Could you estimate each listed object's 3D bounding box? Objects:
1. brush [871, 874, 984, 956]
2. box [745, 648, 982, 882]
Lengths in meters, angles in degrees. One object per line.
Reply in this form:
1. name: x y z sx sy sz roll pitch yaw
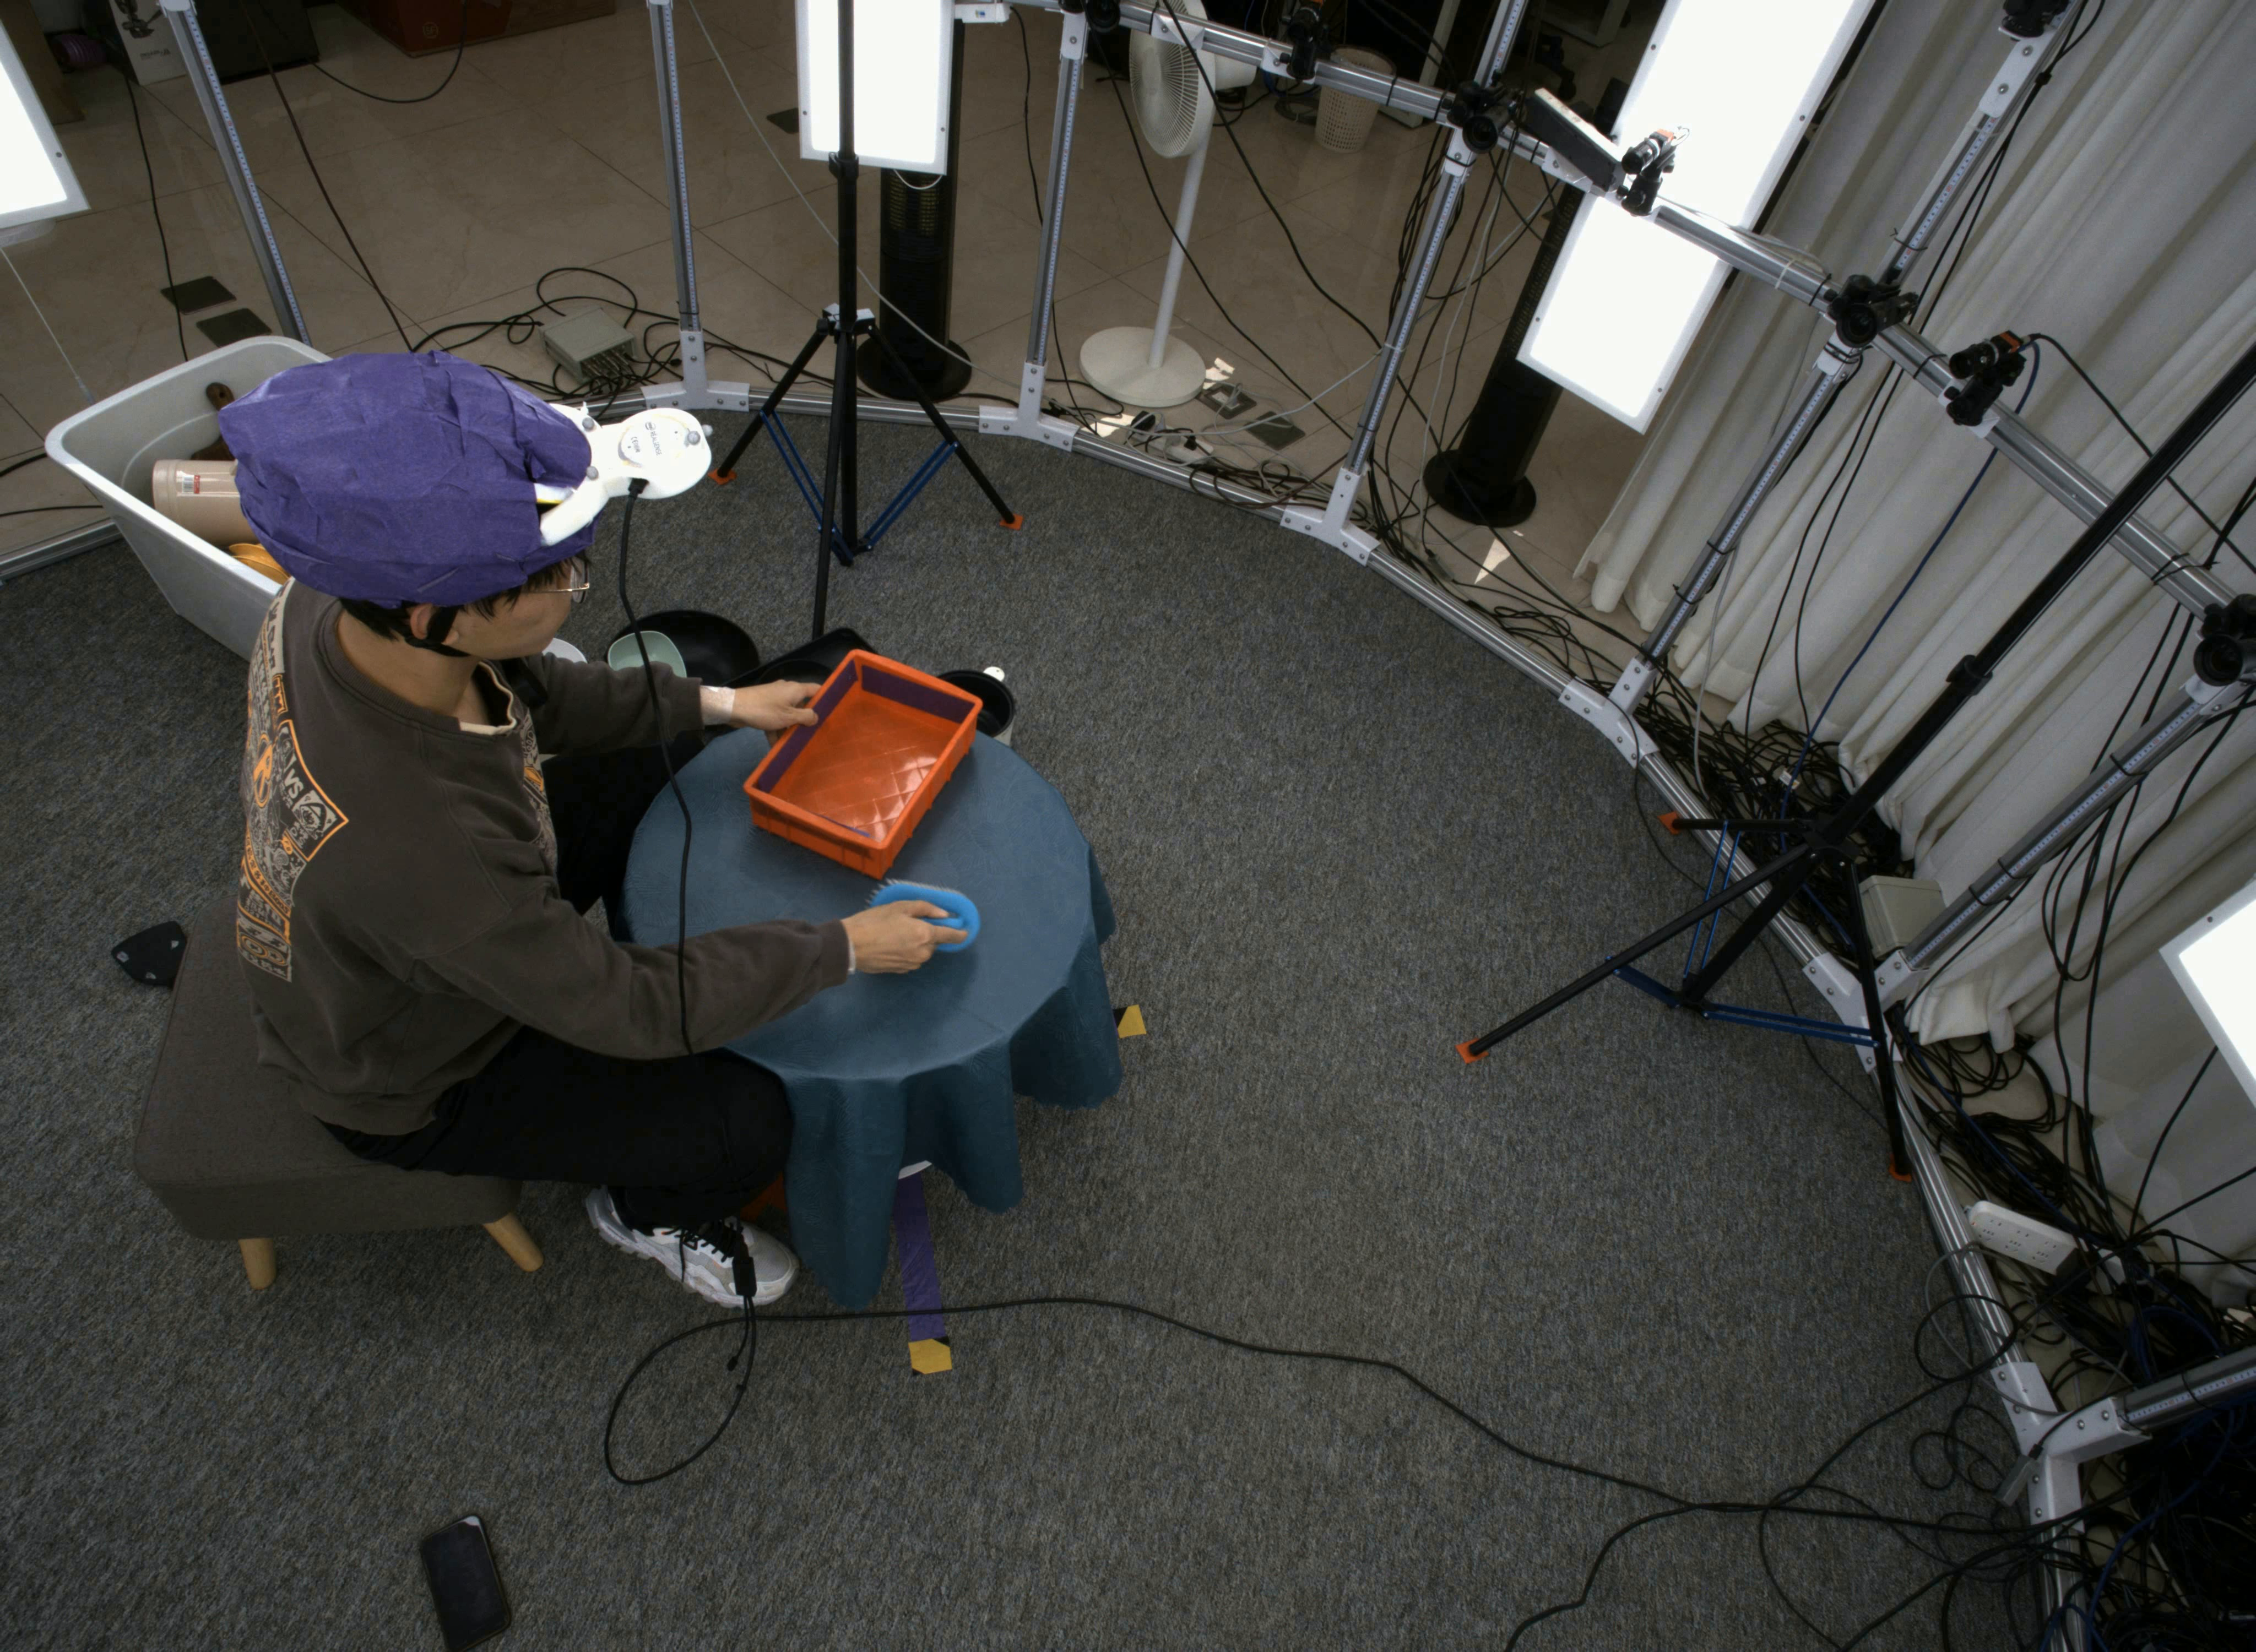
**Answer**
1. brush: -0.246 0.112 1.605 0.143 0.062 0.085 15 95 -18
2. box: -0.352 -0.082 1.760 0.203 0.098 0.301 23 52 6
